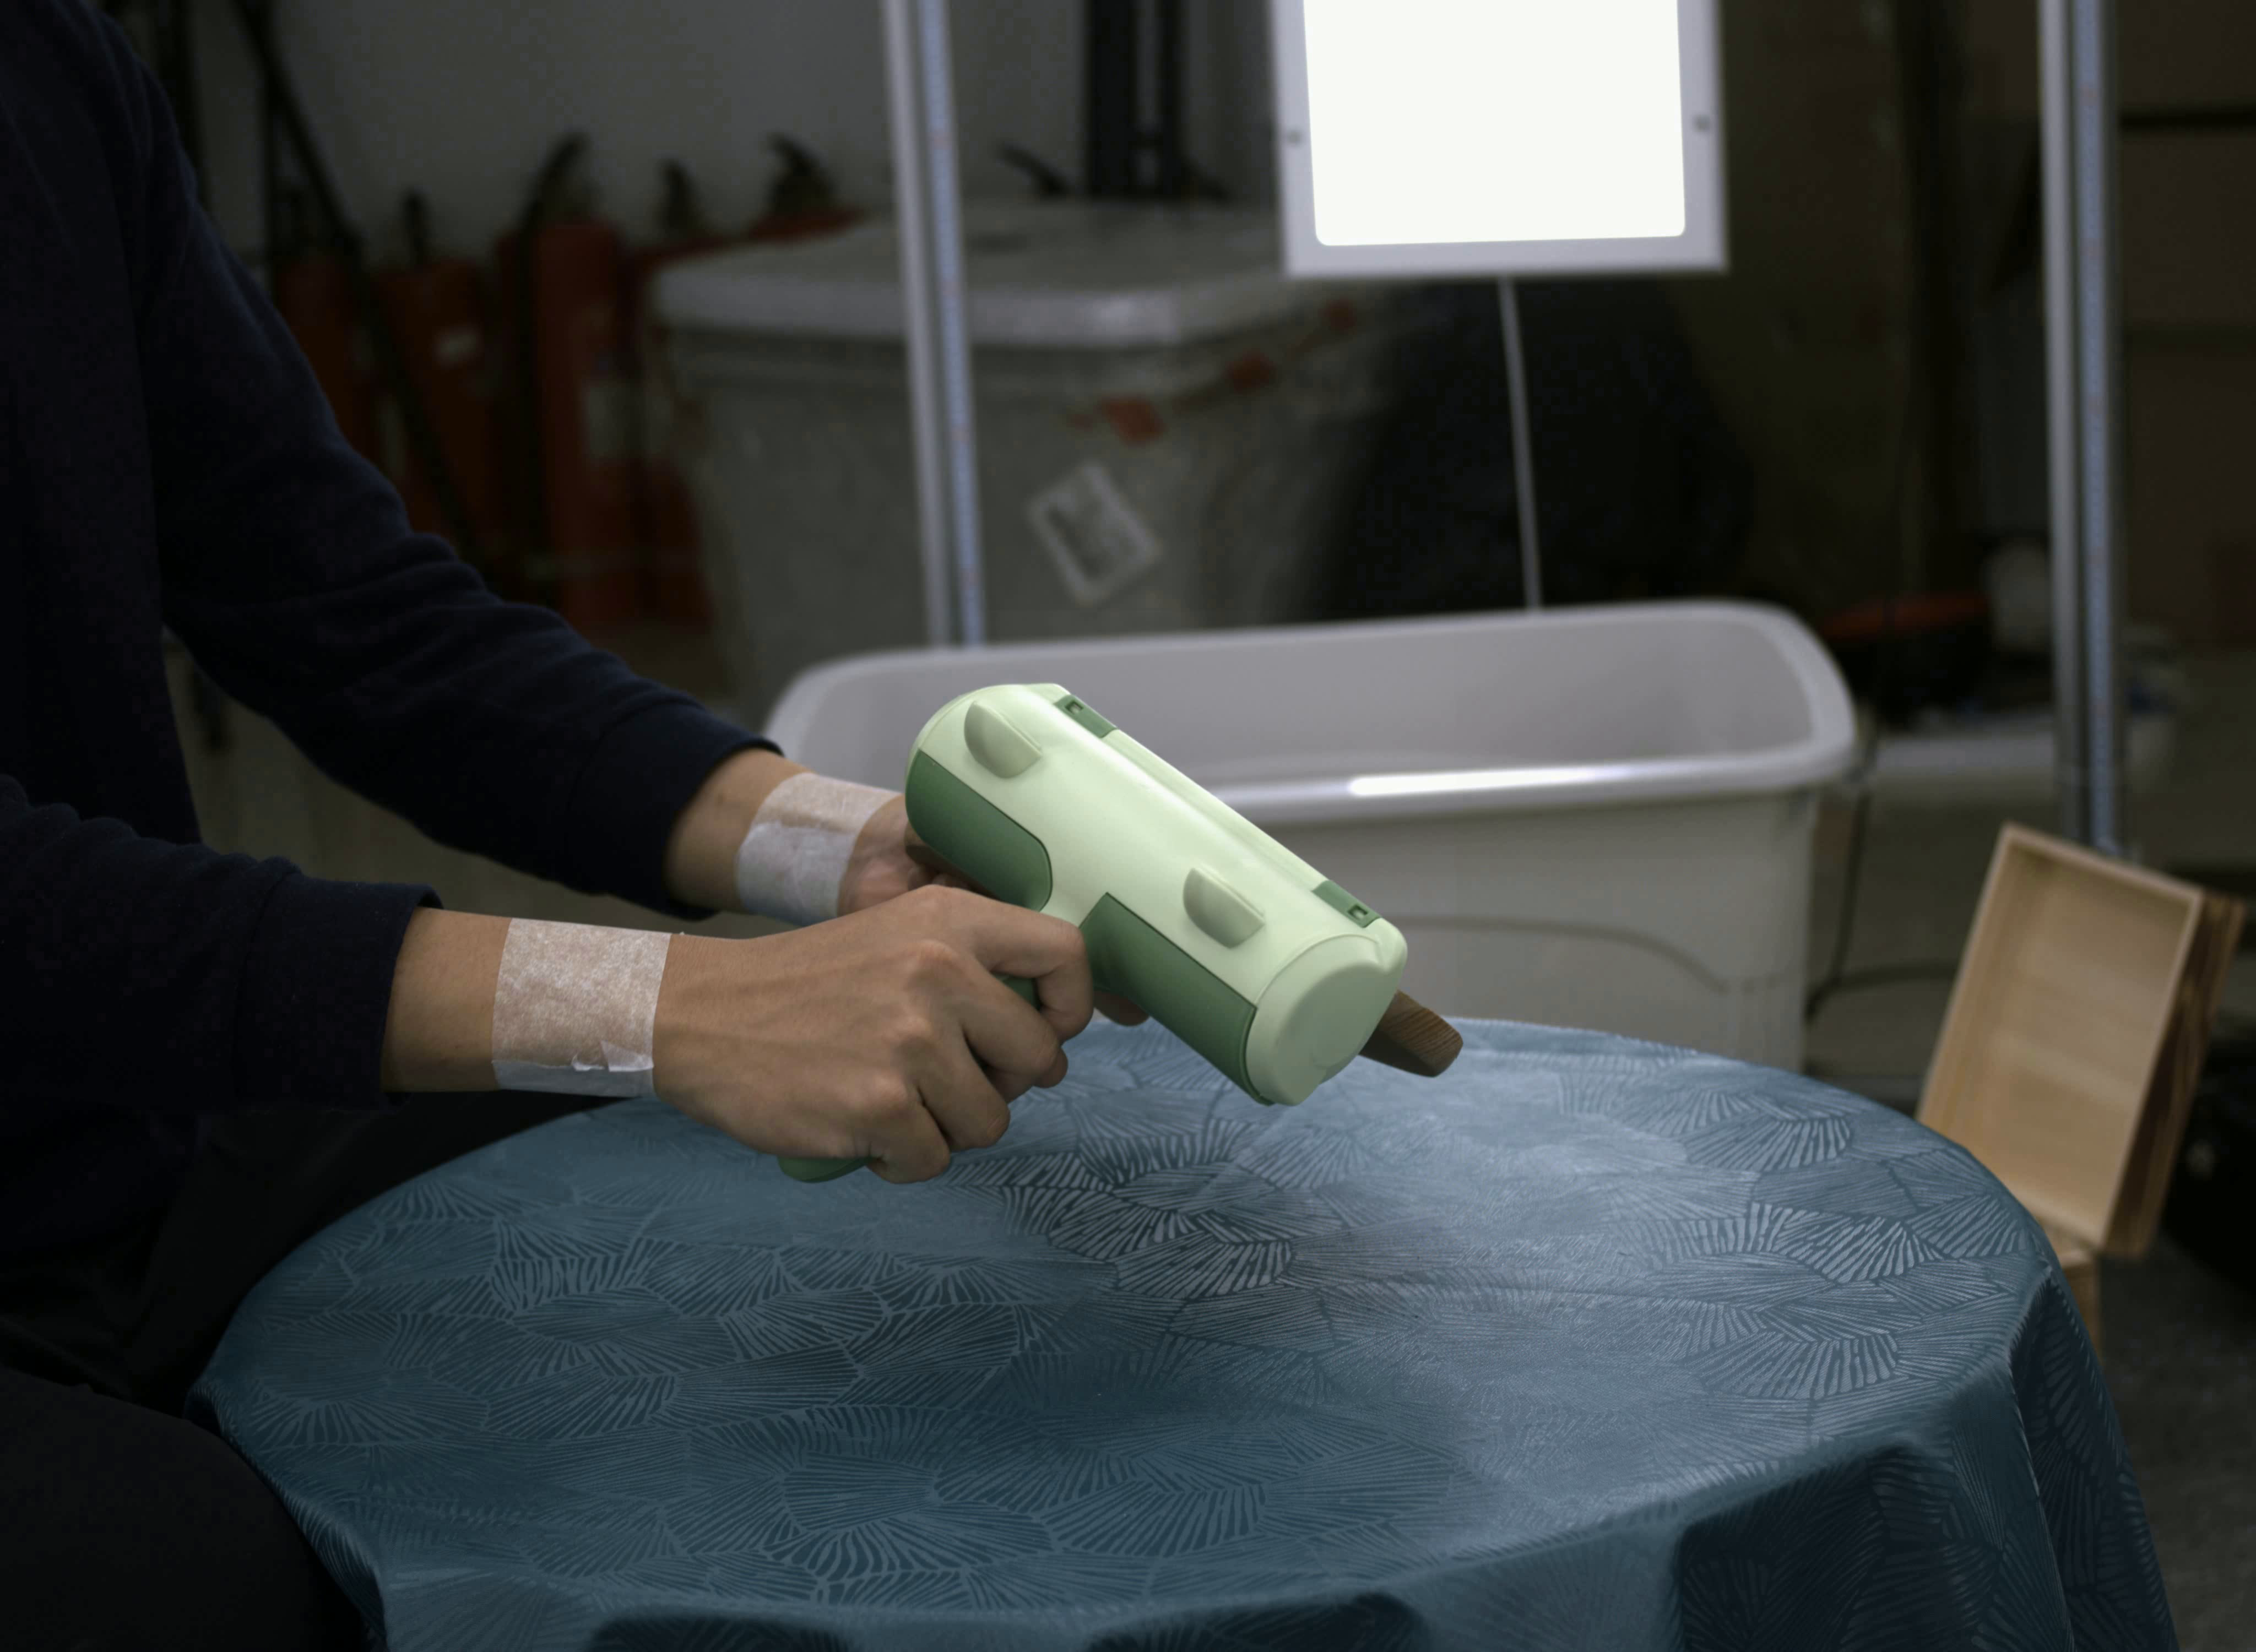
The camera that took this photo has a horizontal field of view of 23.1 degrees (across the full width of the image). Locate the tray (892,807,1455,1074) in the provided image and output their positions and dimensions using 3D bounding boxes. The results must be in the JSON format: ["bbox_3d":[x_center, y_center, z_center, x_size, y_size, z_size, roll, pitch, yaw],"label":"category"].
[{"bbox_3d":[0.012,0.038,1.830,0.236,0.020,0.100,17,-14,42],"label":"tray"}]

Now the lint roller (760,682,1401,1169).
[{"bbox_3d":[-0.043,0.037,1.716,0.180,0.082,0.202,-29,43,-24],"label":"lint roller"}]
